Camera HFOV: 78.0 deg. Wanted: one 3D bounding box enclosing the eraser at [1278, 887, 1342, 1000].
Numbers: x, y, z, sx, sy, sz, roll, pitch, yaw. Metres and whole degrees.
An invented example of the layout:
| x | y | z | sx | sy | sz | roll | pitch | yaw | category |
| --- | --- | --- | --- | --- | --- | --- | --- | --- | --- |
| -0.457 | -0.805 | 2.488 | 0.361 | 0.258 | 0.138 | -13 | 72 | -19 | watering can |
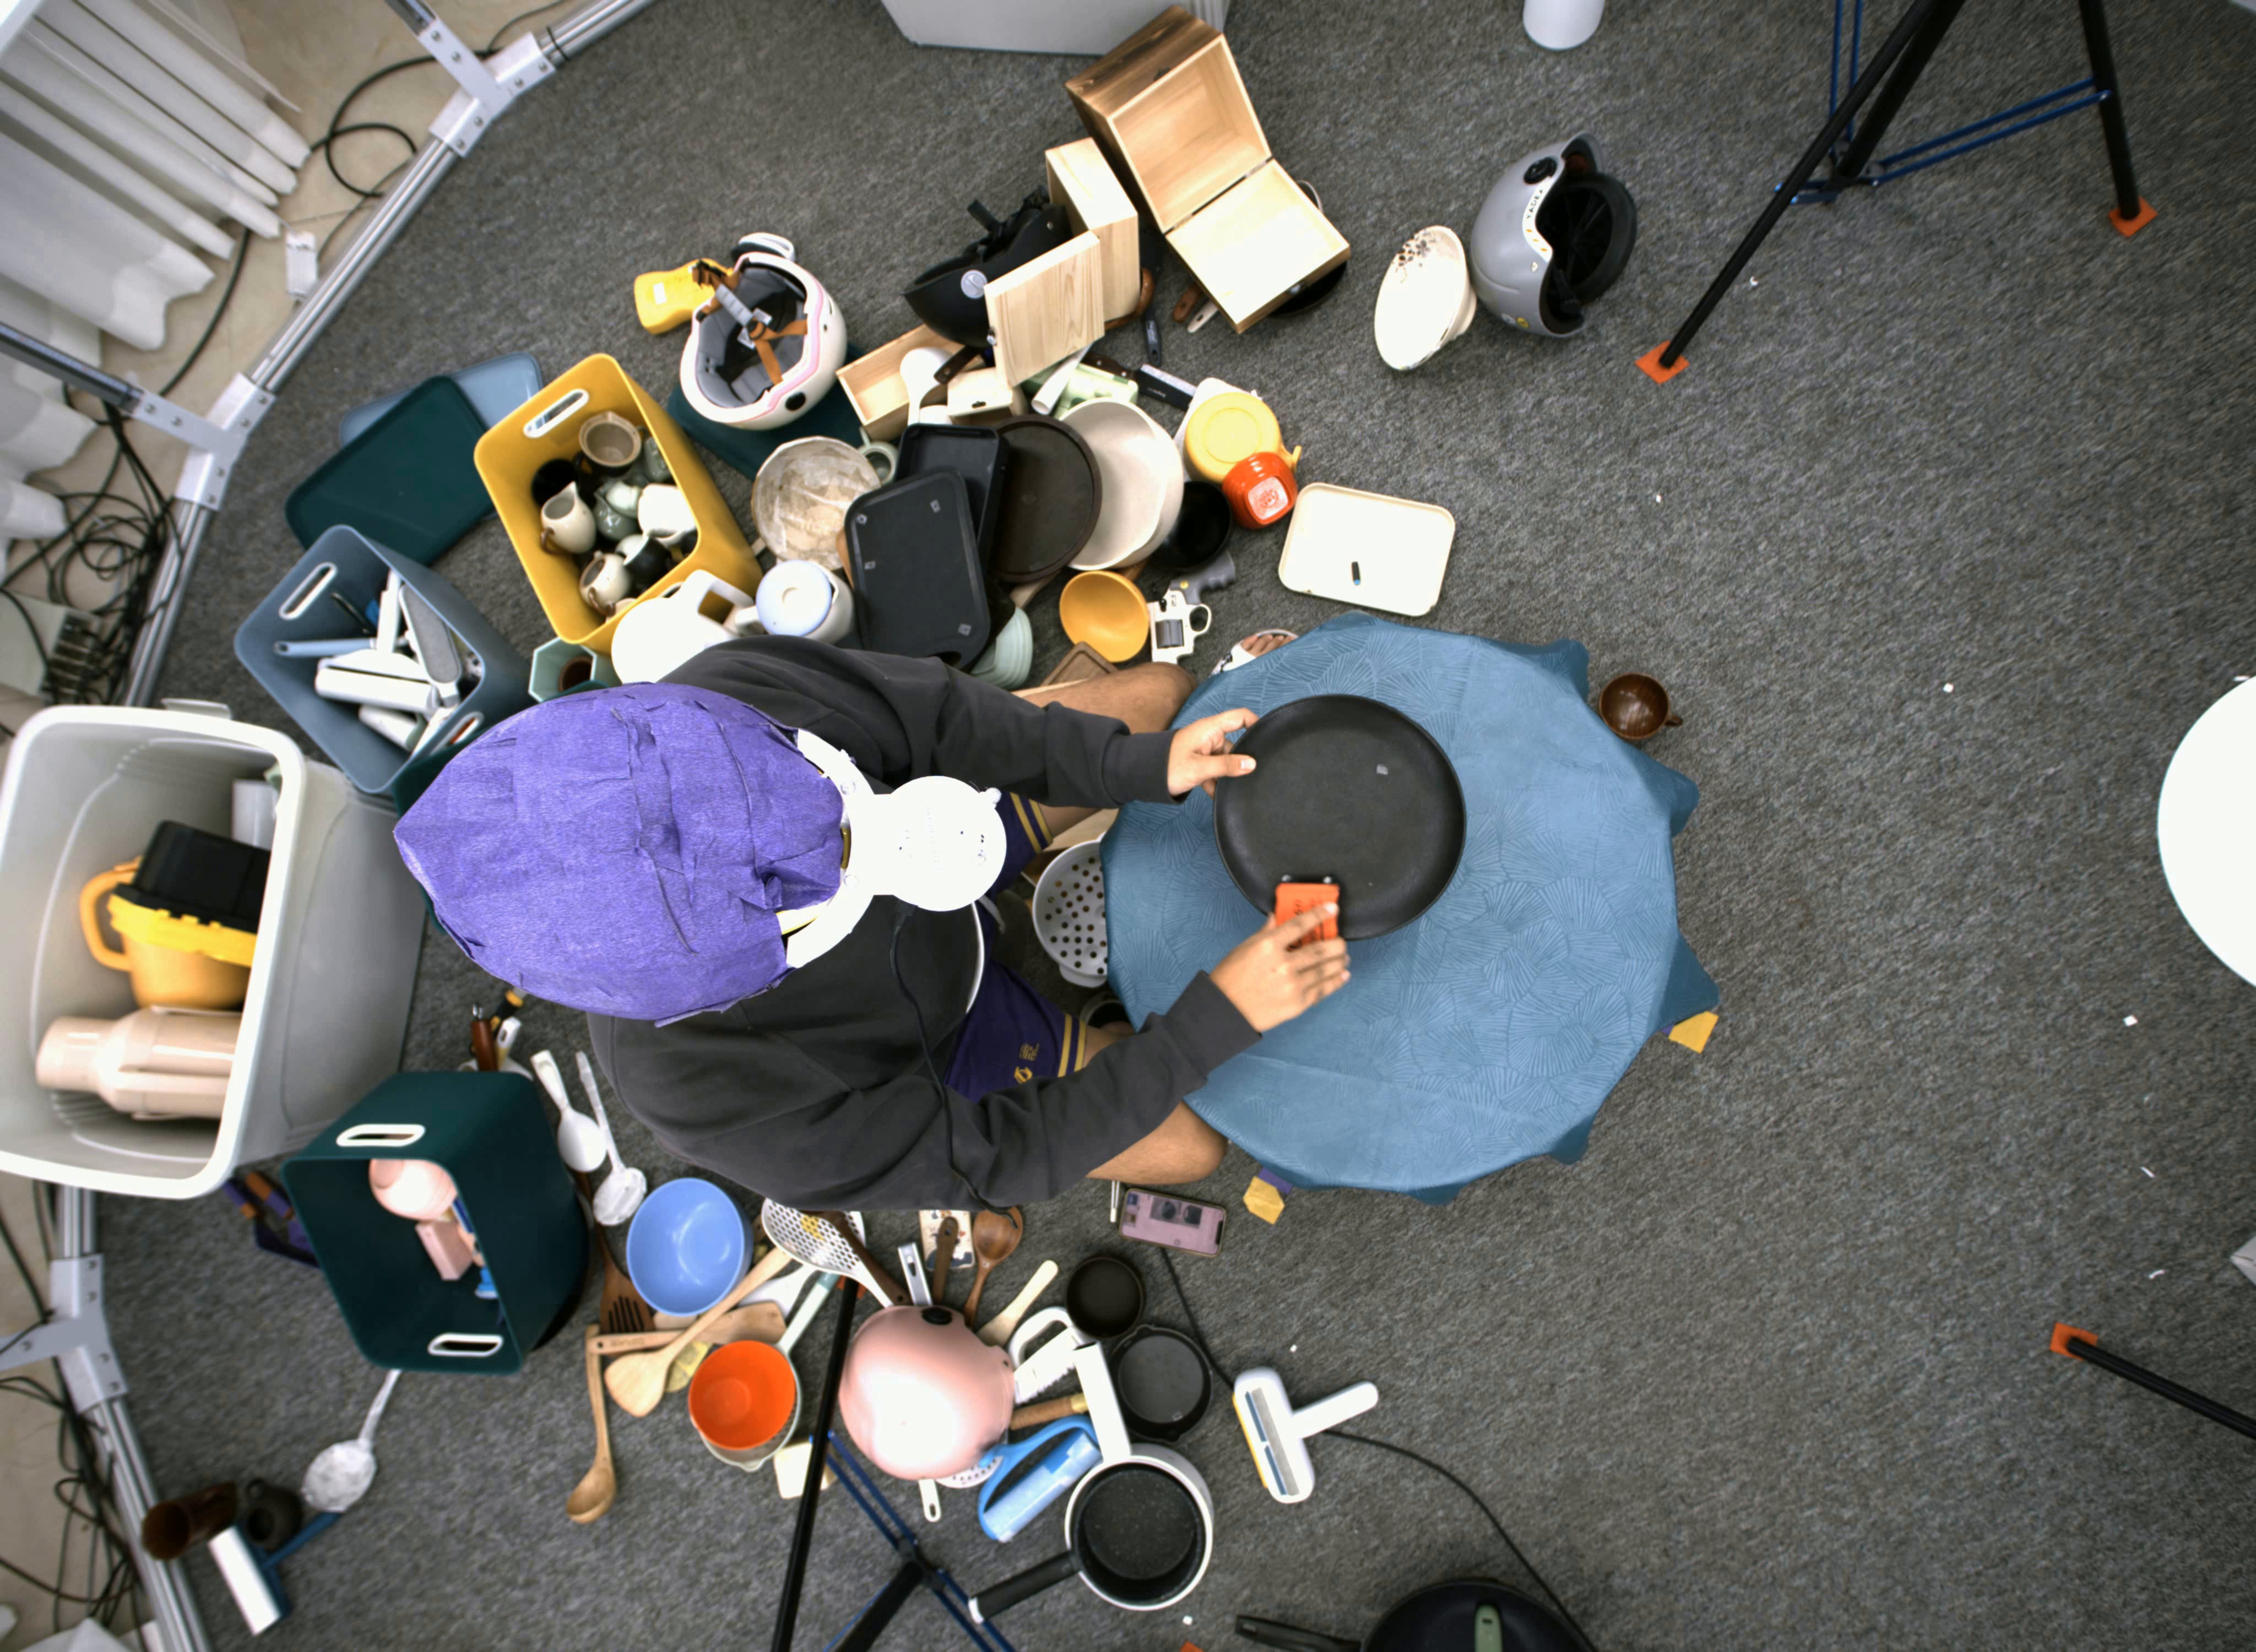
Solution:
| x | y | z | sx | sy | sz | roll | pitch | yaw | category |
| --- | --- | --- | --- | --- | --- | --- | --- | --- | --- |
| 0.177 | 0.113 | 1.343 | 0.059 | 0.023 | 0.108 | 3 | 91 | 14 | eraser |

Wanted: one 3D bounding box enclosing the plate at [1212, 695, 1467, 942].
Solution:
| x | y | z | sx | sy | sz | roll | pitch | yaw | category |
| --- | --- | --- | --- | --- | --- | --- | --- | --- | --- |
| 0.202 | -0.008 | 1.324 | 0.245 | 0.023 | 0.248 | 5 | 109 | 16 | plate |
